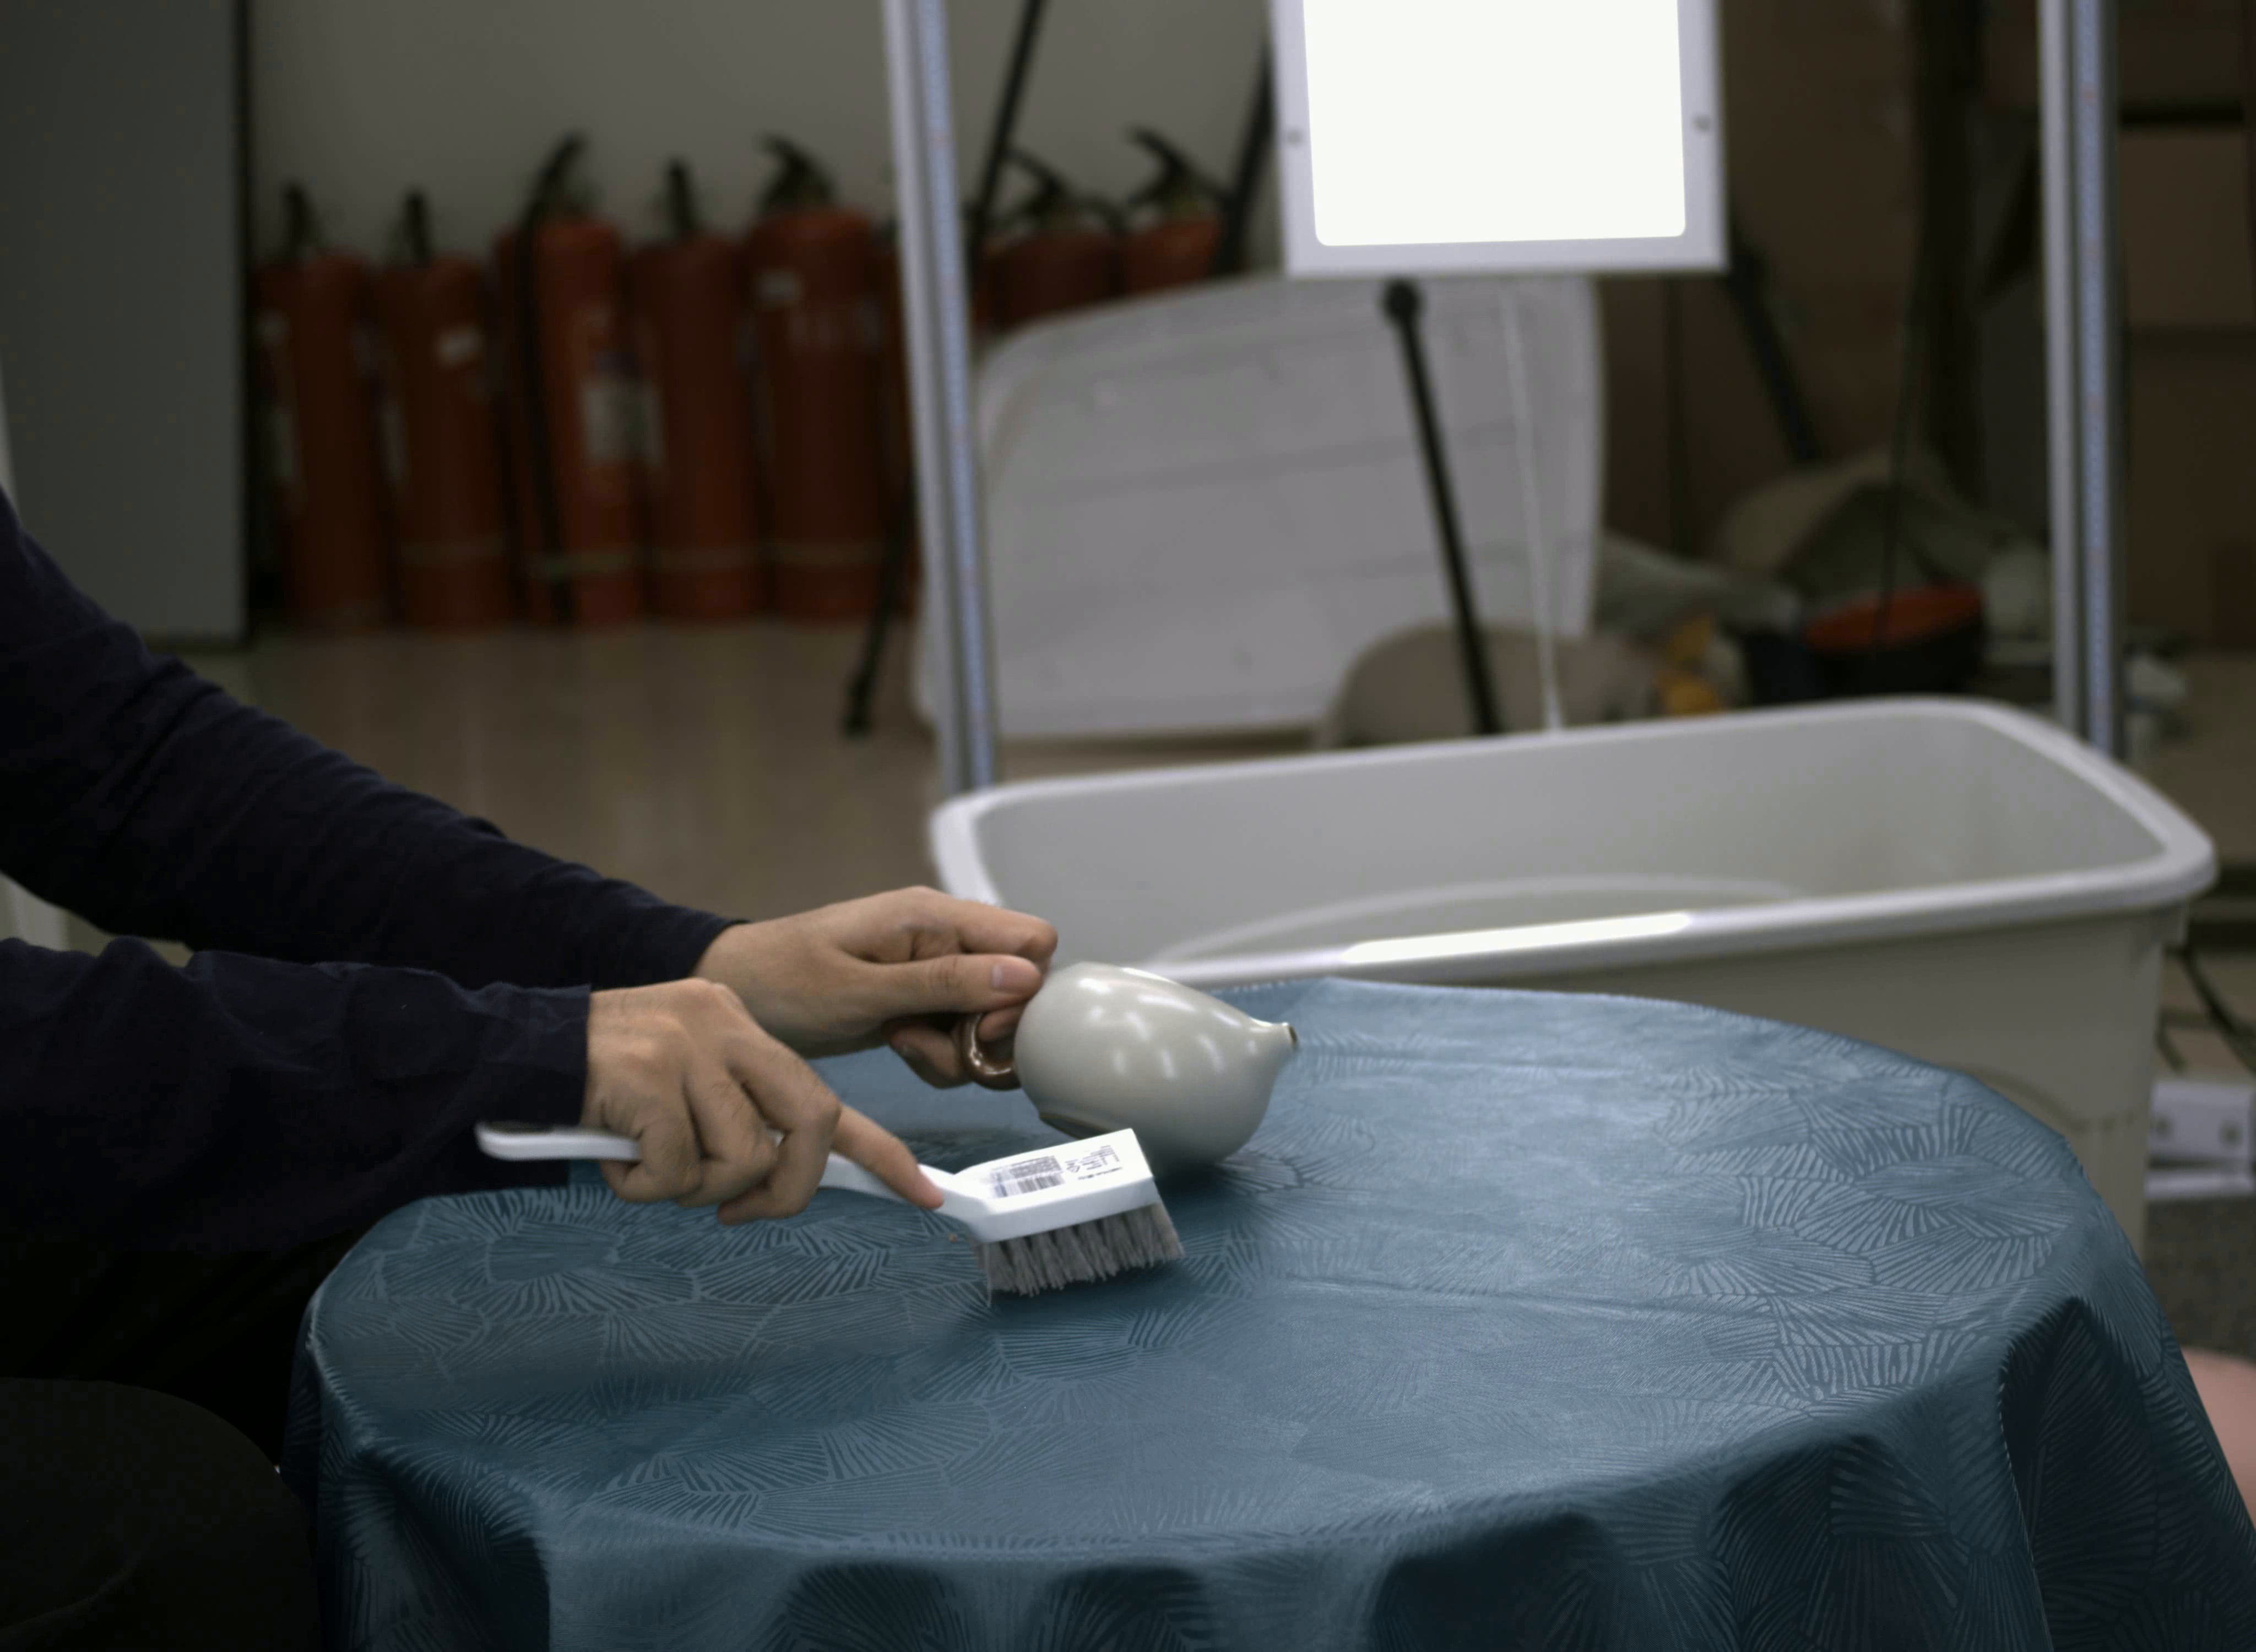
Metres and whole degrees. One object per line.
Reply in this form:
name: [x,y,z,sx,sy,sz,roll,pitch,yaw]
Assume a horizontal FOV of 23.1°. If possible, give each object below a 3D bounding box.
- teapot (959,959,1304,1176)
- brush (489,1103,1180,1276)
teapot: [-0.002,0.083,1.913,0.130,0.059,0.090,16,-6,27]
brush: [-0.093,0.117,1.773,0.239,0.051,0.035,3,26,-24]
